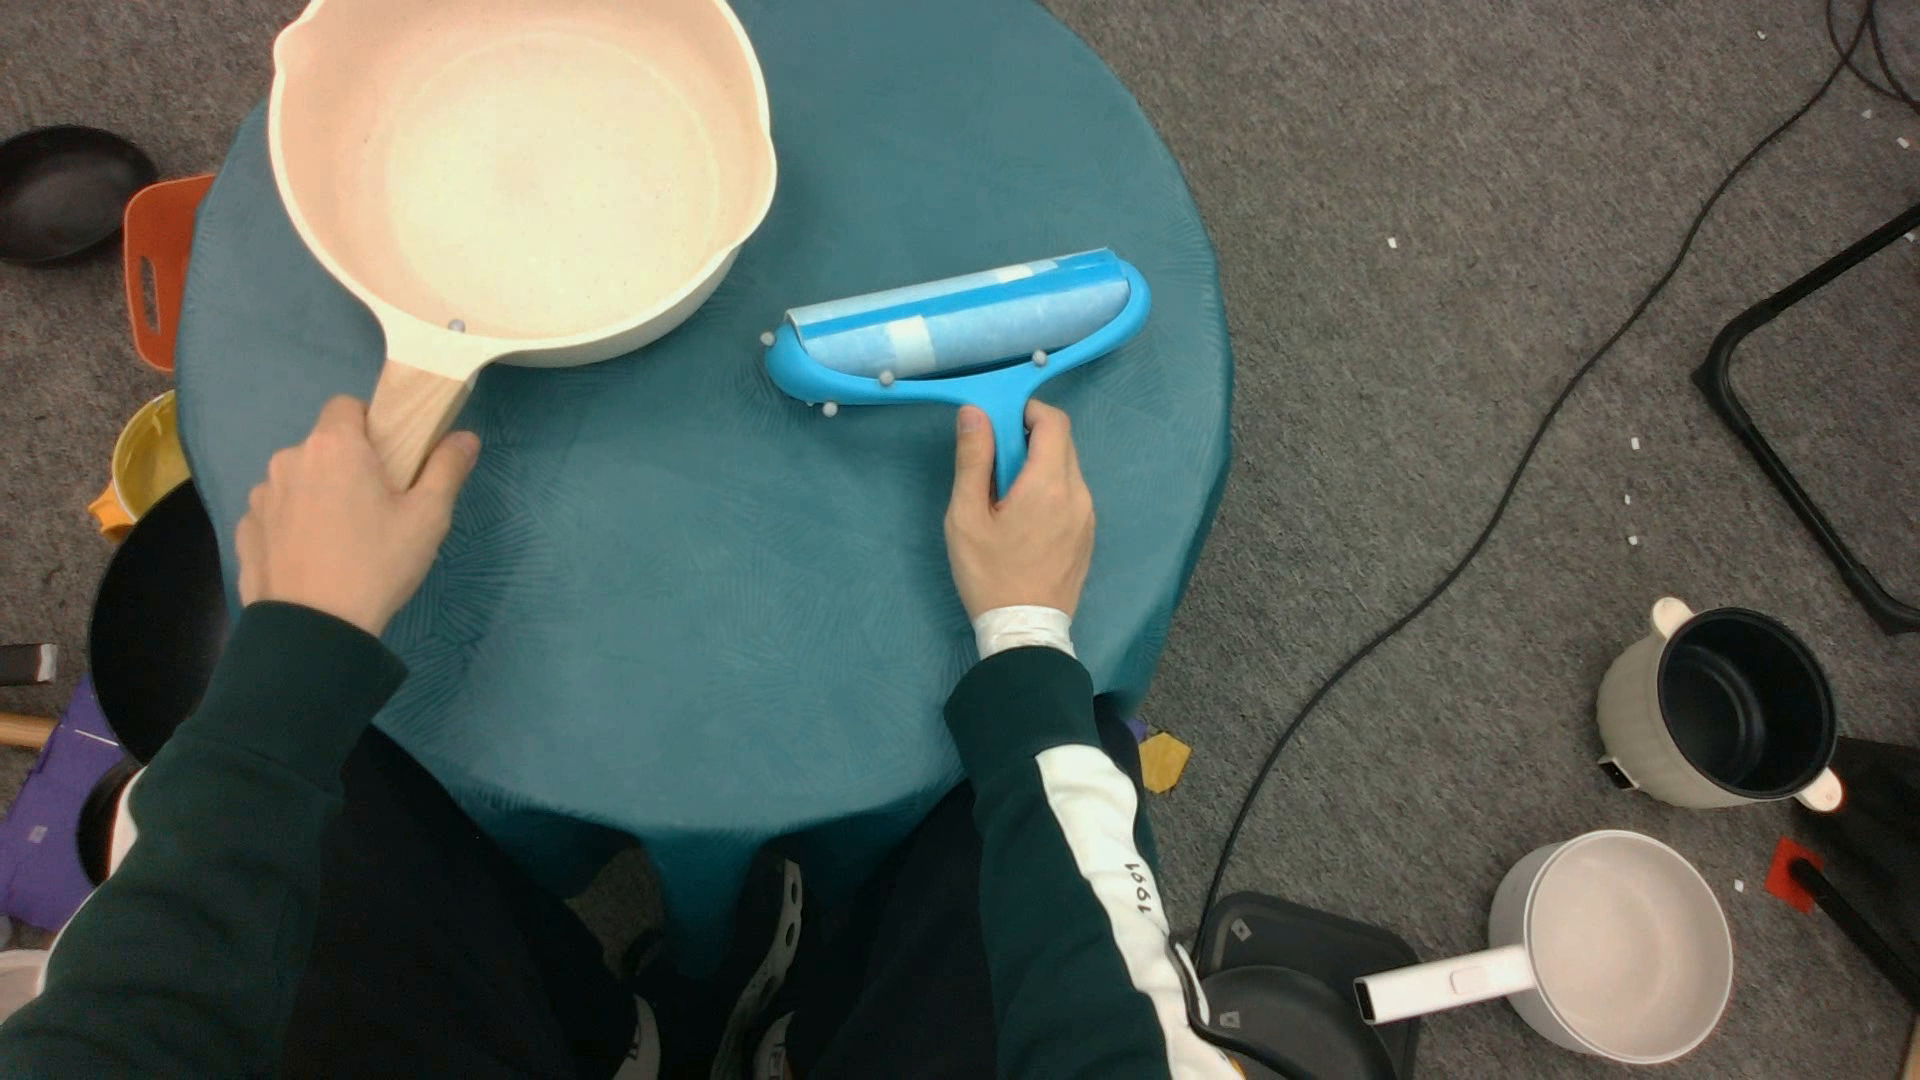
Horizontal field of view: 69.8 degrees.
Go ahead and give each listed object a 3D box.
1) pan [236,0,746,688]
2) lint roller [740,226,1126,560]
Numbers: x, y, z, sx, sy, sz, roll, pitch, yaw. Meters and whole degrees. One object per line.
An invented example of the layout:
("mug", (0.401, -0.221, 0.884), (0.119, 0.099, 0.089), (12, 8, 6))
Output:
("pan", (-0.268, -0.131, 0.725), (0.263, 0.101, 0.436), (15, 76, -6))
("lint roller", (0.007, -0.081, 0.778), (0.229, 0.067, 0.180), (-17, 75, -16))
